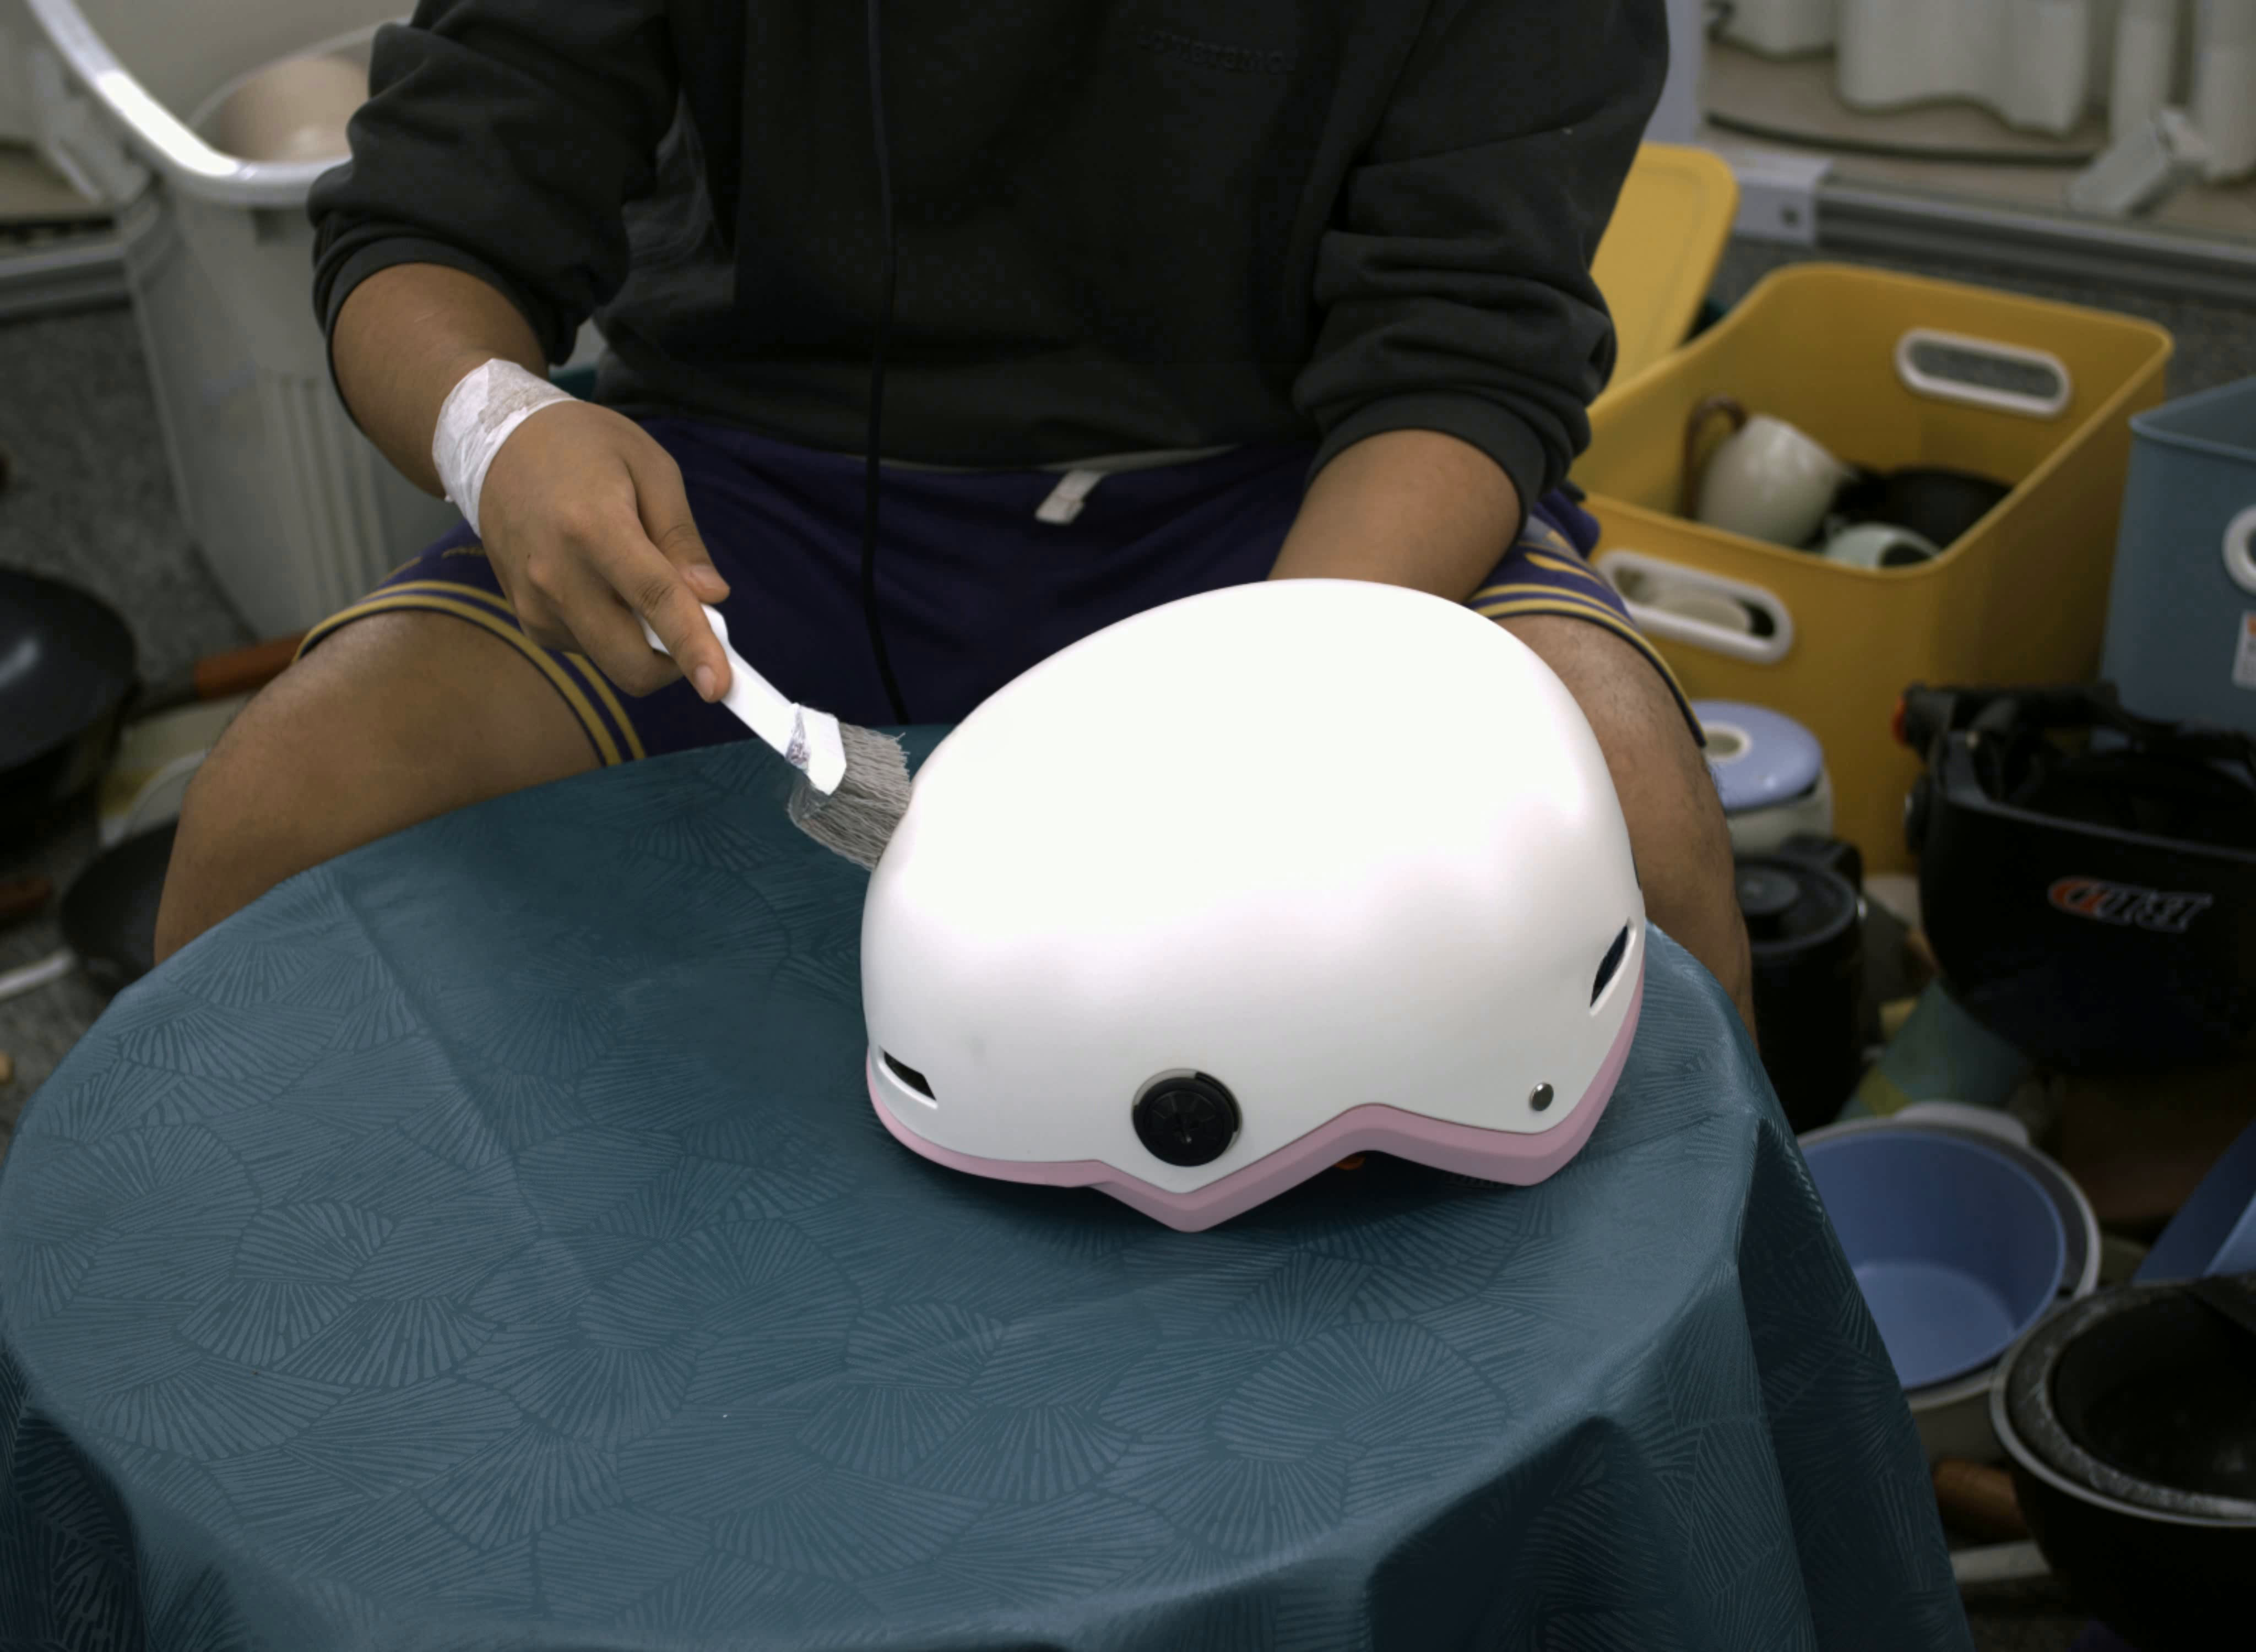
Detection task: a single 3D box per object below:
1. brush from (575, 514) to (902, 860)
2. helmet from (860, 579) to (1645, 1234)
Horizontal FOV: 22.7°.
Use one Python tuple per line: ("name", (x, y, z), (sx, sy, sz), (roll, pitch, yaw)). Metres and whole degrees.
("brush", (-0.135, -0.052, 1.980), (0.050, 0.034, 0.245), (19, 15, -31))
("helmet", (0.039, 0.009, 1.887), (0.267, 0.165, 0.241), (-2, 31, 2))
